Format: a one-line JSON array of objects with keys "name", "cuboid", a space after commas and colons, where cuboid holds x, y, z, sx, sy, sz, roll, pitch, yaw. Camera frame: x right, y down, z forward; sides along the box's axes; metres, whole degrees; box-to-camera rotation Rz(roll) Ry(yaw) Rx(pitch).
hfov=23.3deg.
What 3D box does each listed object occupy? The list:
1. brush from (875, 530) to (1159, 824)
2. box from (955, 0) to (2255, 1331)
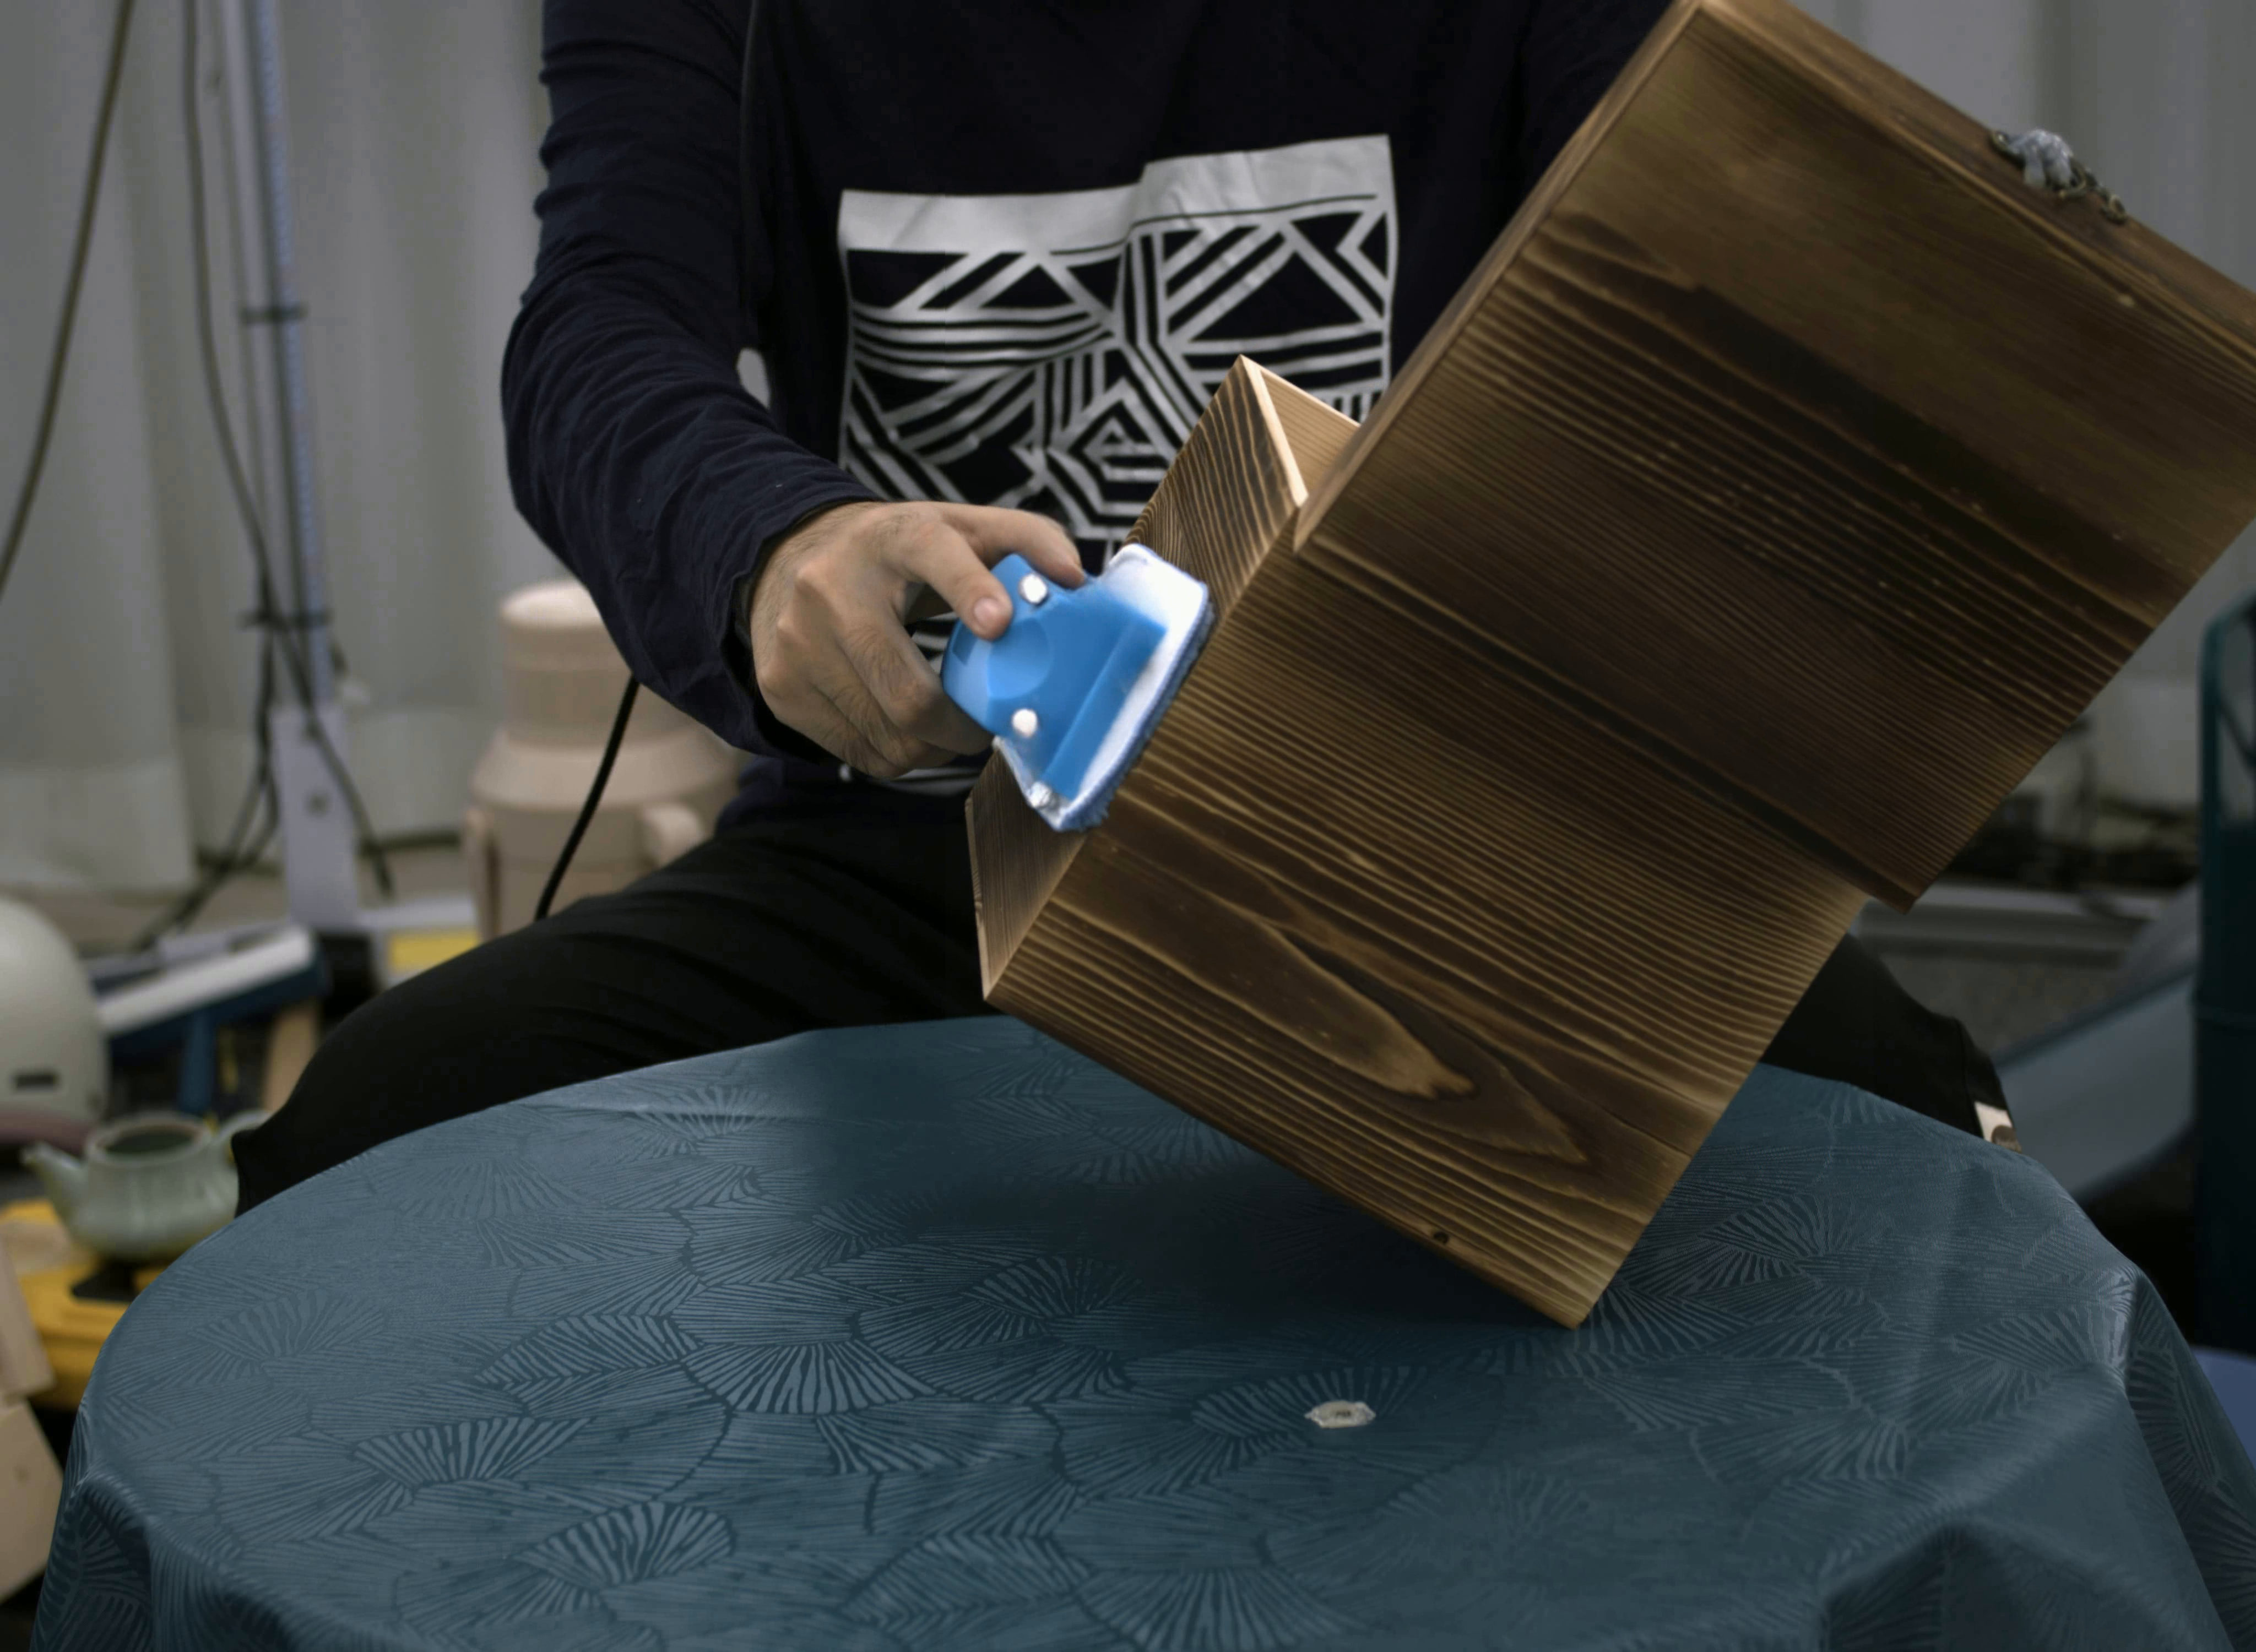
[{"name": "brush", "cuboid": [-0.039, -0.048, 1.583, 0.055, 0.084, 0.145, 33, 0, -15]}, {"name": "box", "cuboid": [0.136, -0.064, 1.569, 0.207, 0.374, 0.325, 30, 12, -11]}]
